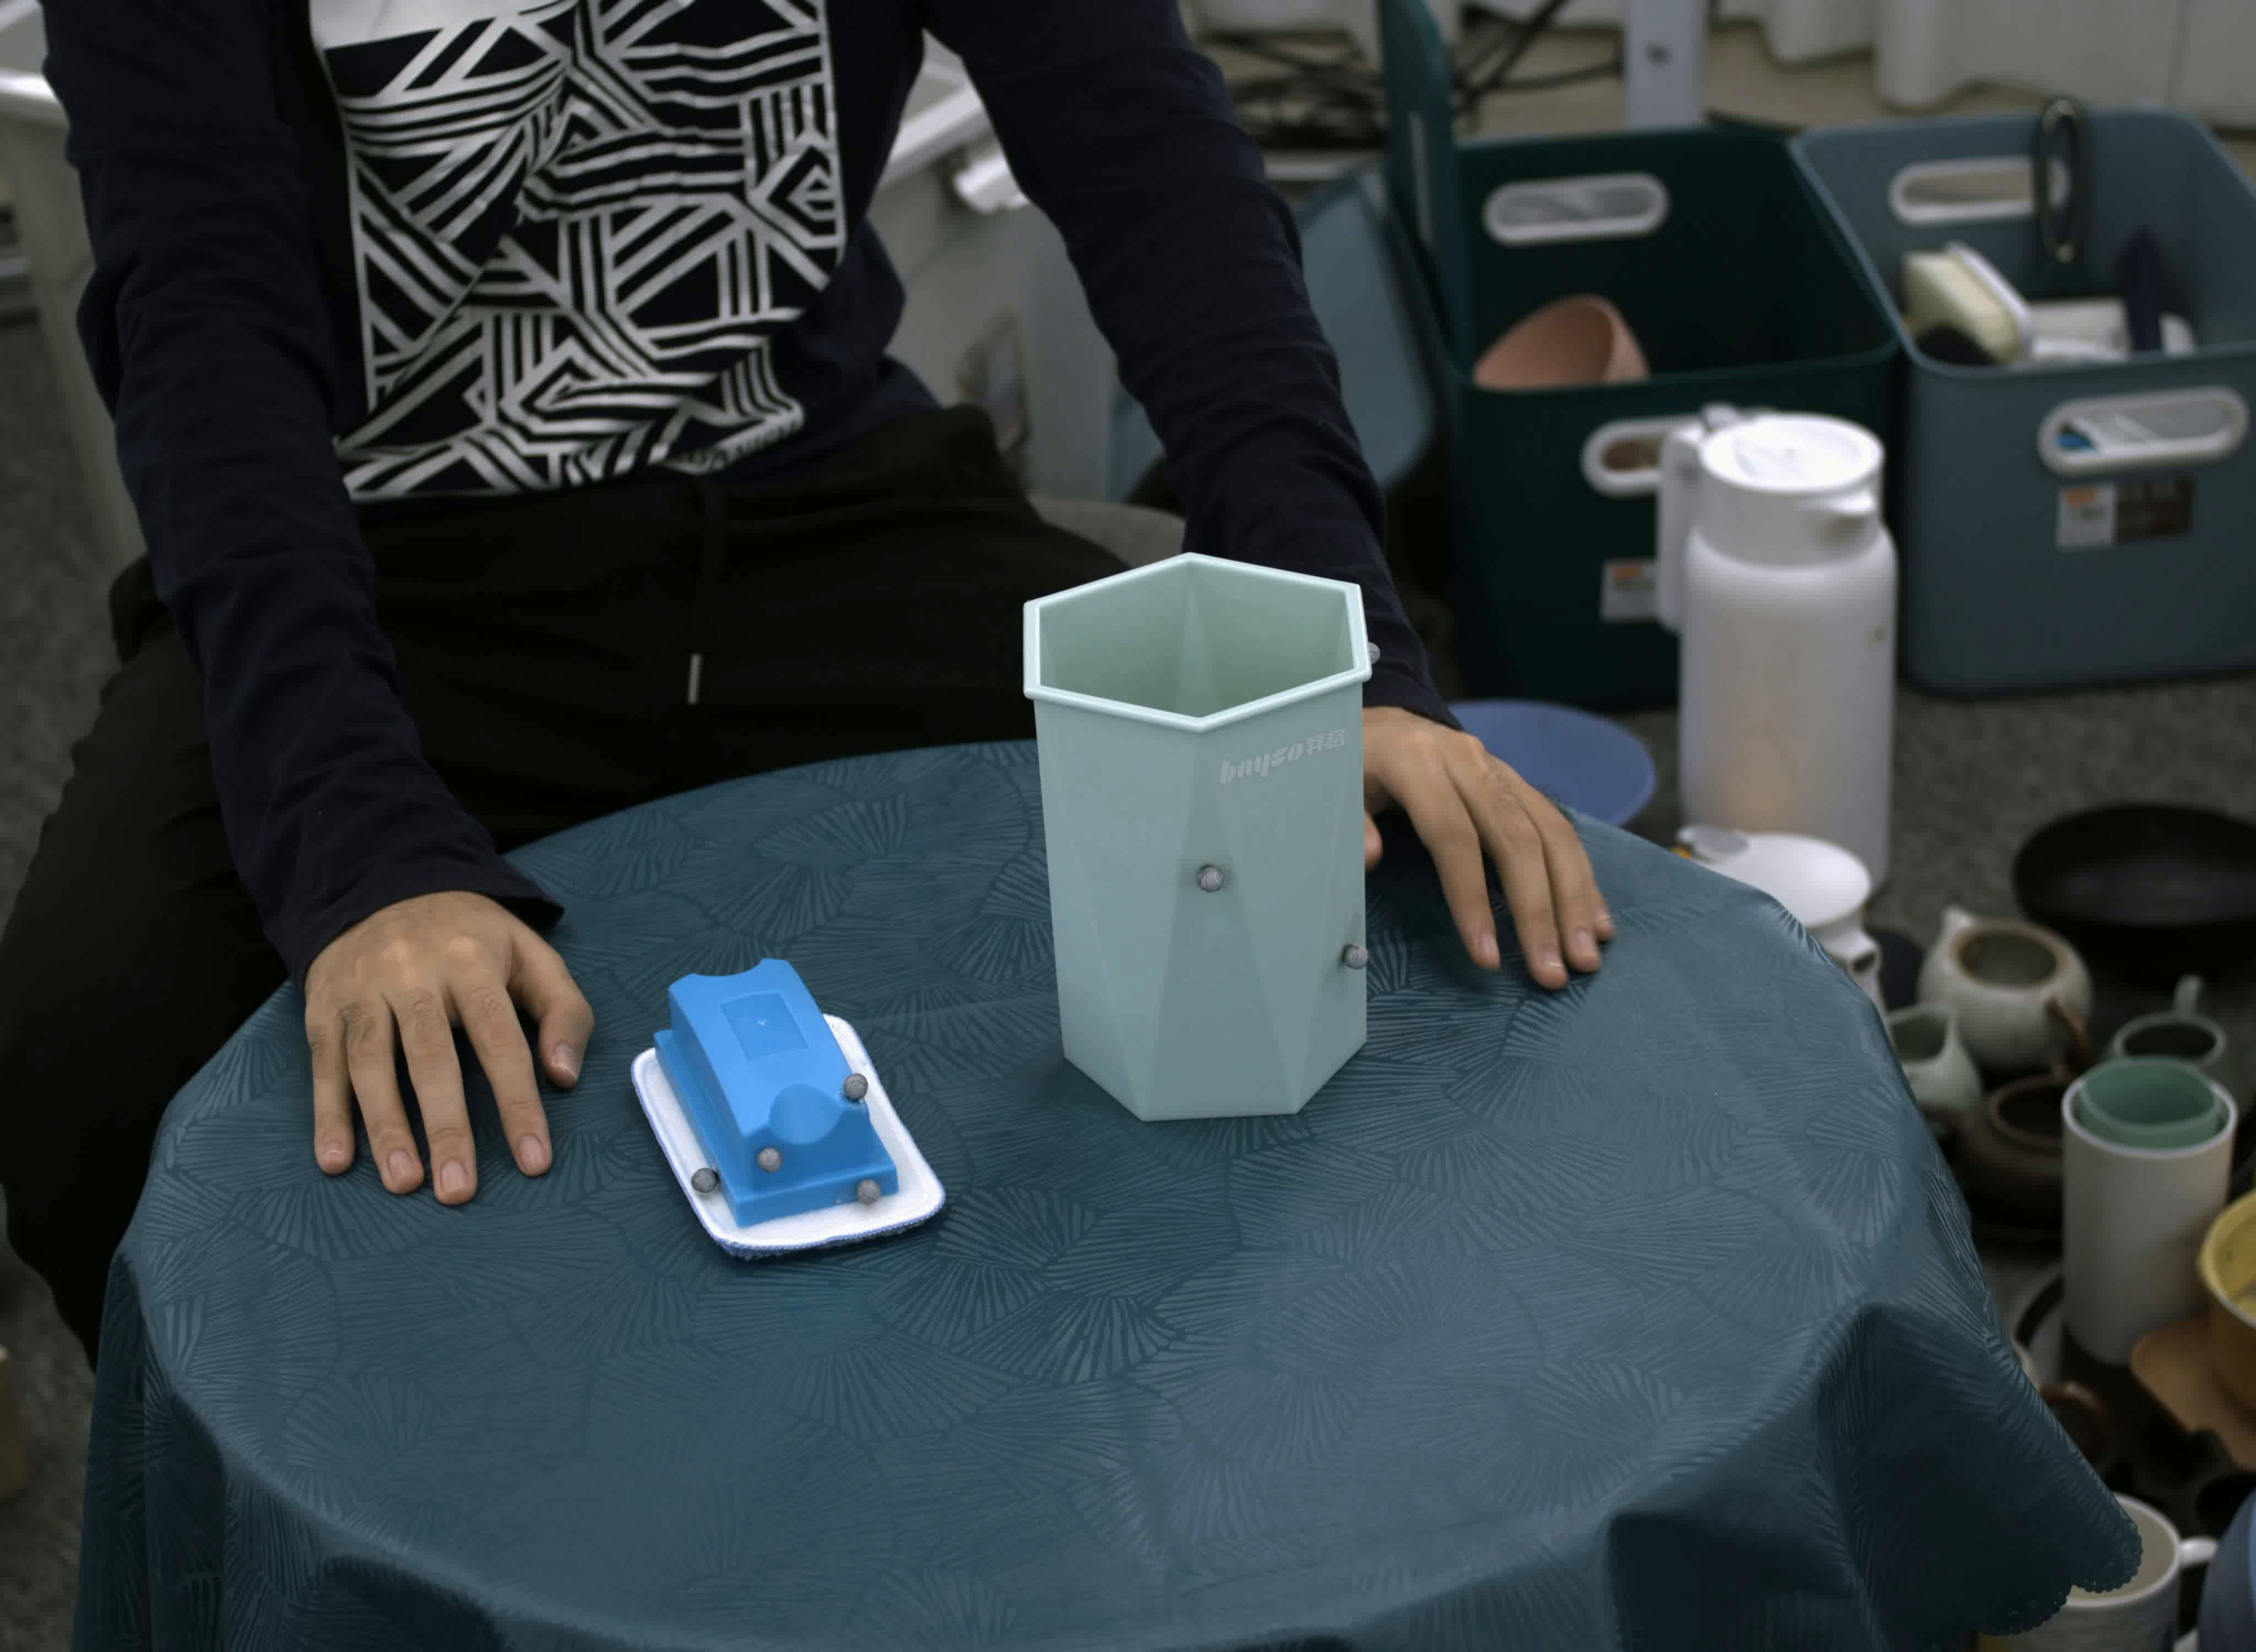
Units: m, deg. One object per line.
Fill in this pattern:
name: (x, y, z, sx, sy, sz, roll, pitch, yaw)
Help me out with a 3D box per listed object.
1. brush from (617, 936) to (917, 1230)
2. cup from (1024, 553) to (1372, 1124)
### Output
brush: (-0.121, 0.082, 1.883, 0.084, 0.055, 0.145, -7, 30, -14)
cup: (0.028, 0.007, 1.904, 0.132, 0.161, 0.115, -19, 29, -28)
